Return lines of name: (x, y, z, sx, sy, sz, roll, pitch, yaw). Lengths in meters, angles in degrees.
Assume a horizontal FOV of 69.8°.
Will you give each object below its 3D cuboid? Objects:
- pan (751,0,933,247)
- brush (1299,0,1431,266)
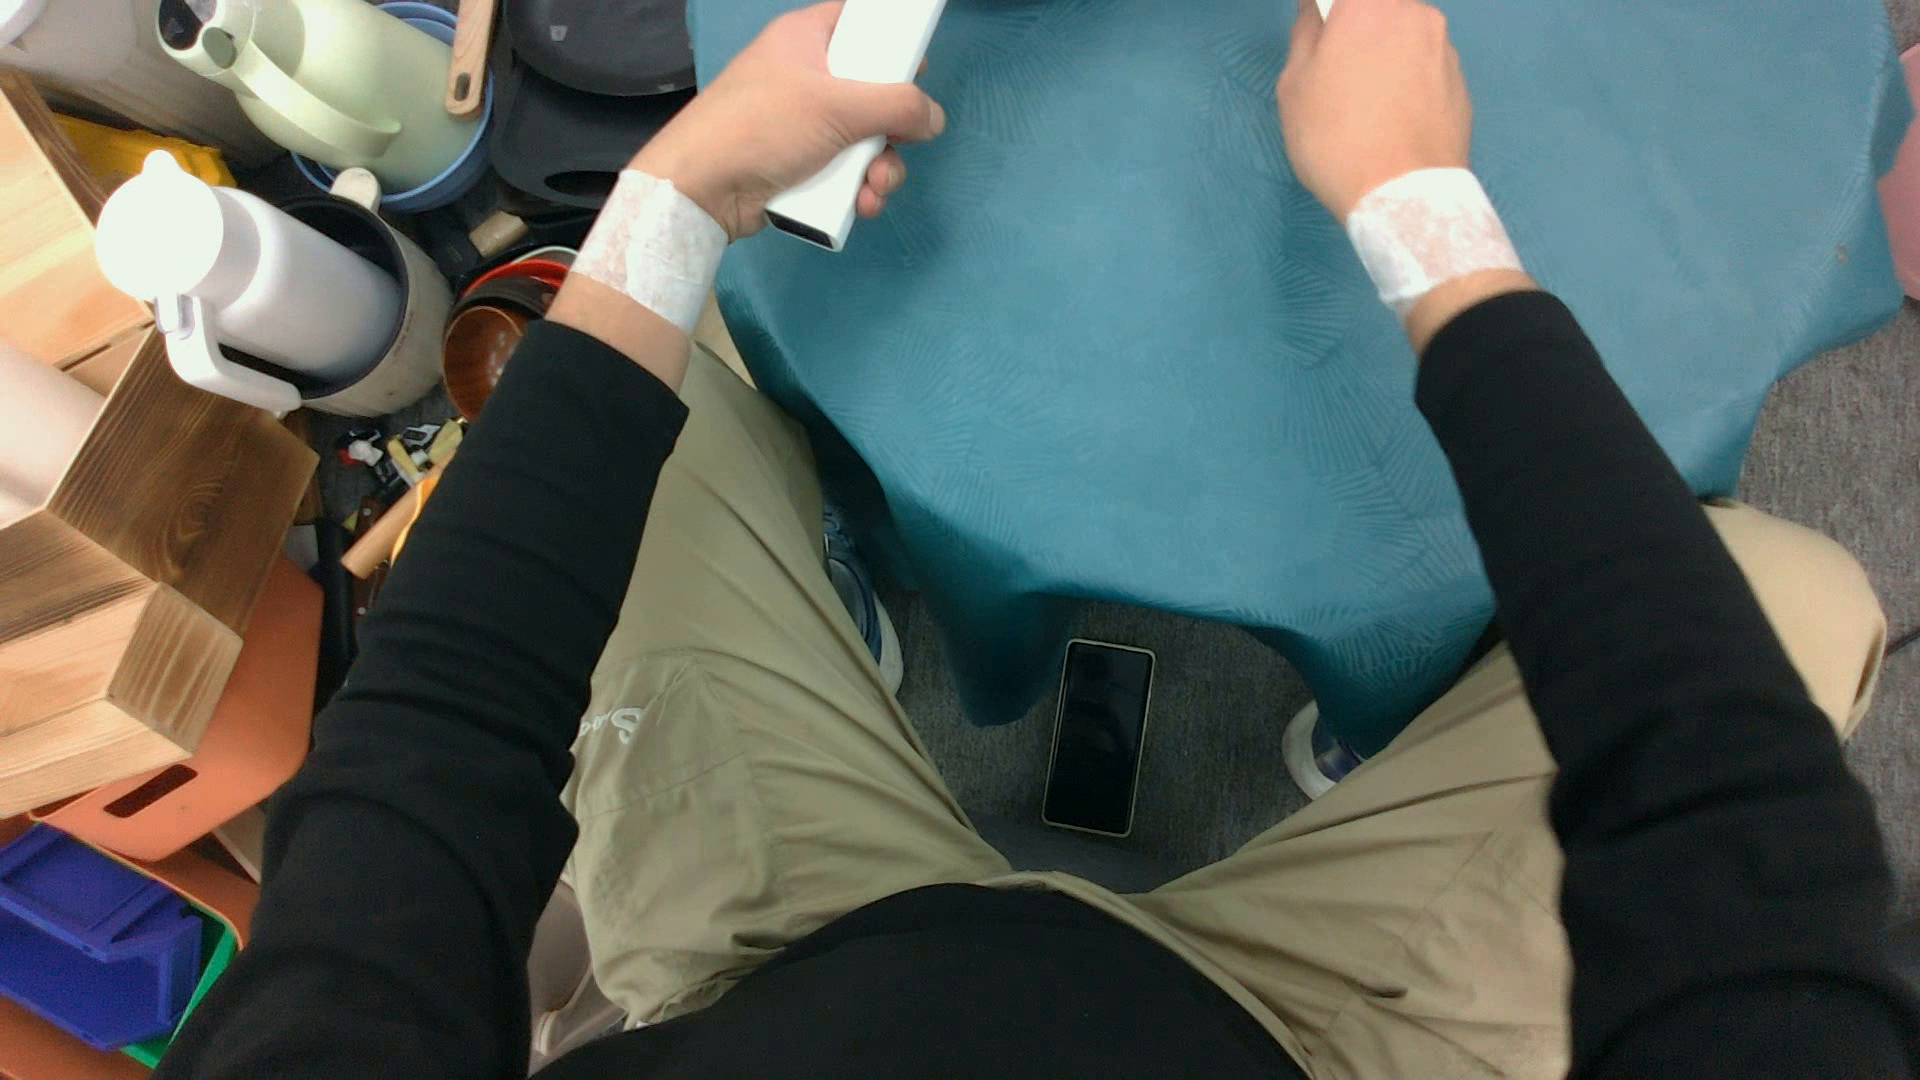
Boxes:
pan: (-0.010, -0.305, 0.679, 0.201, 0.102, 0.355, 21, 87, 3)
brush: (0.148, -0.245, 0.617, 0.056, 0.069, 0.266, -13, 99, 39)
